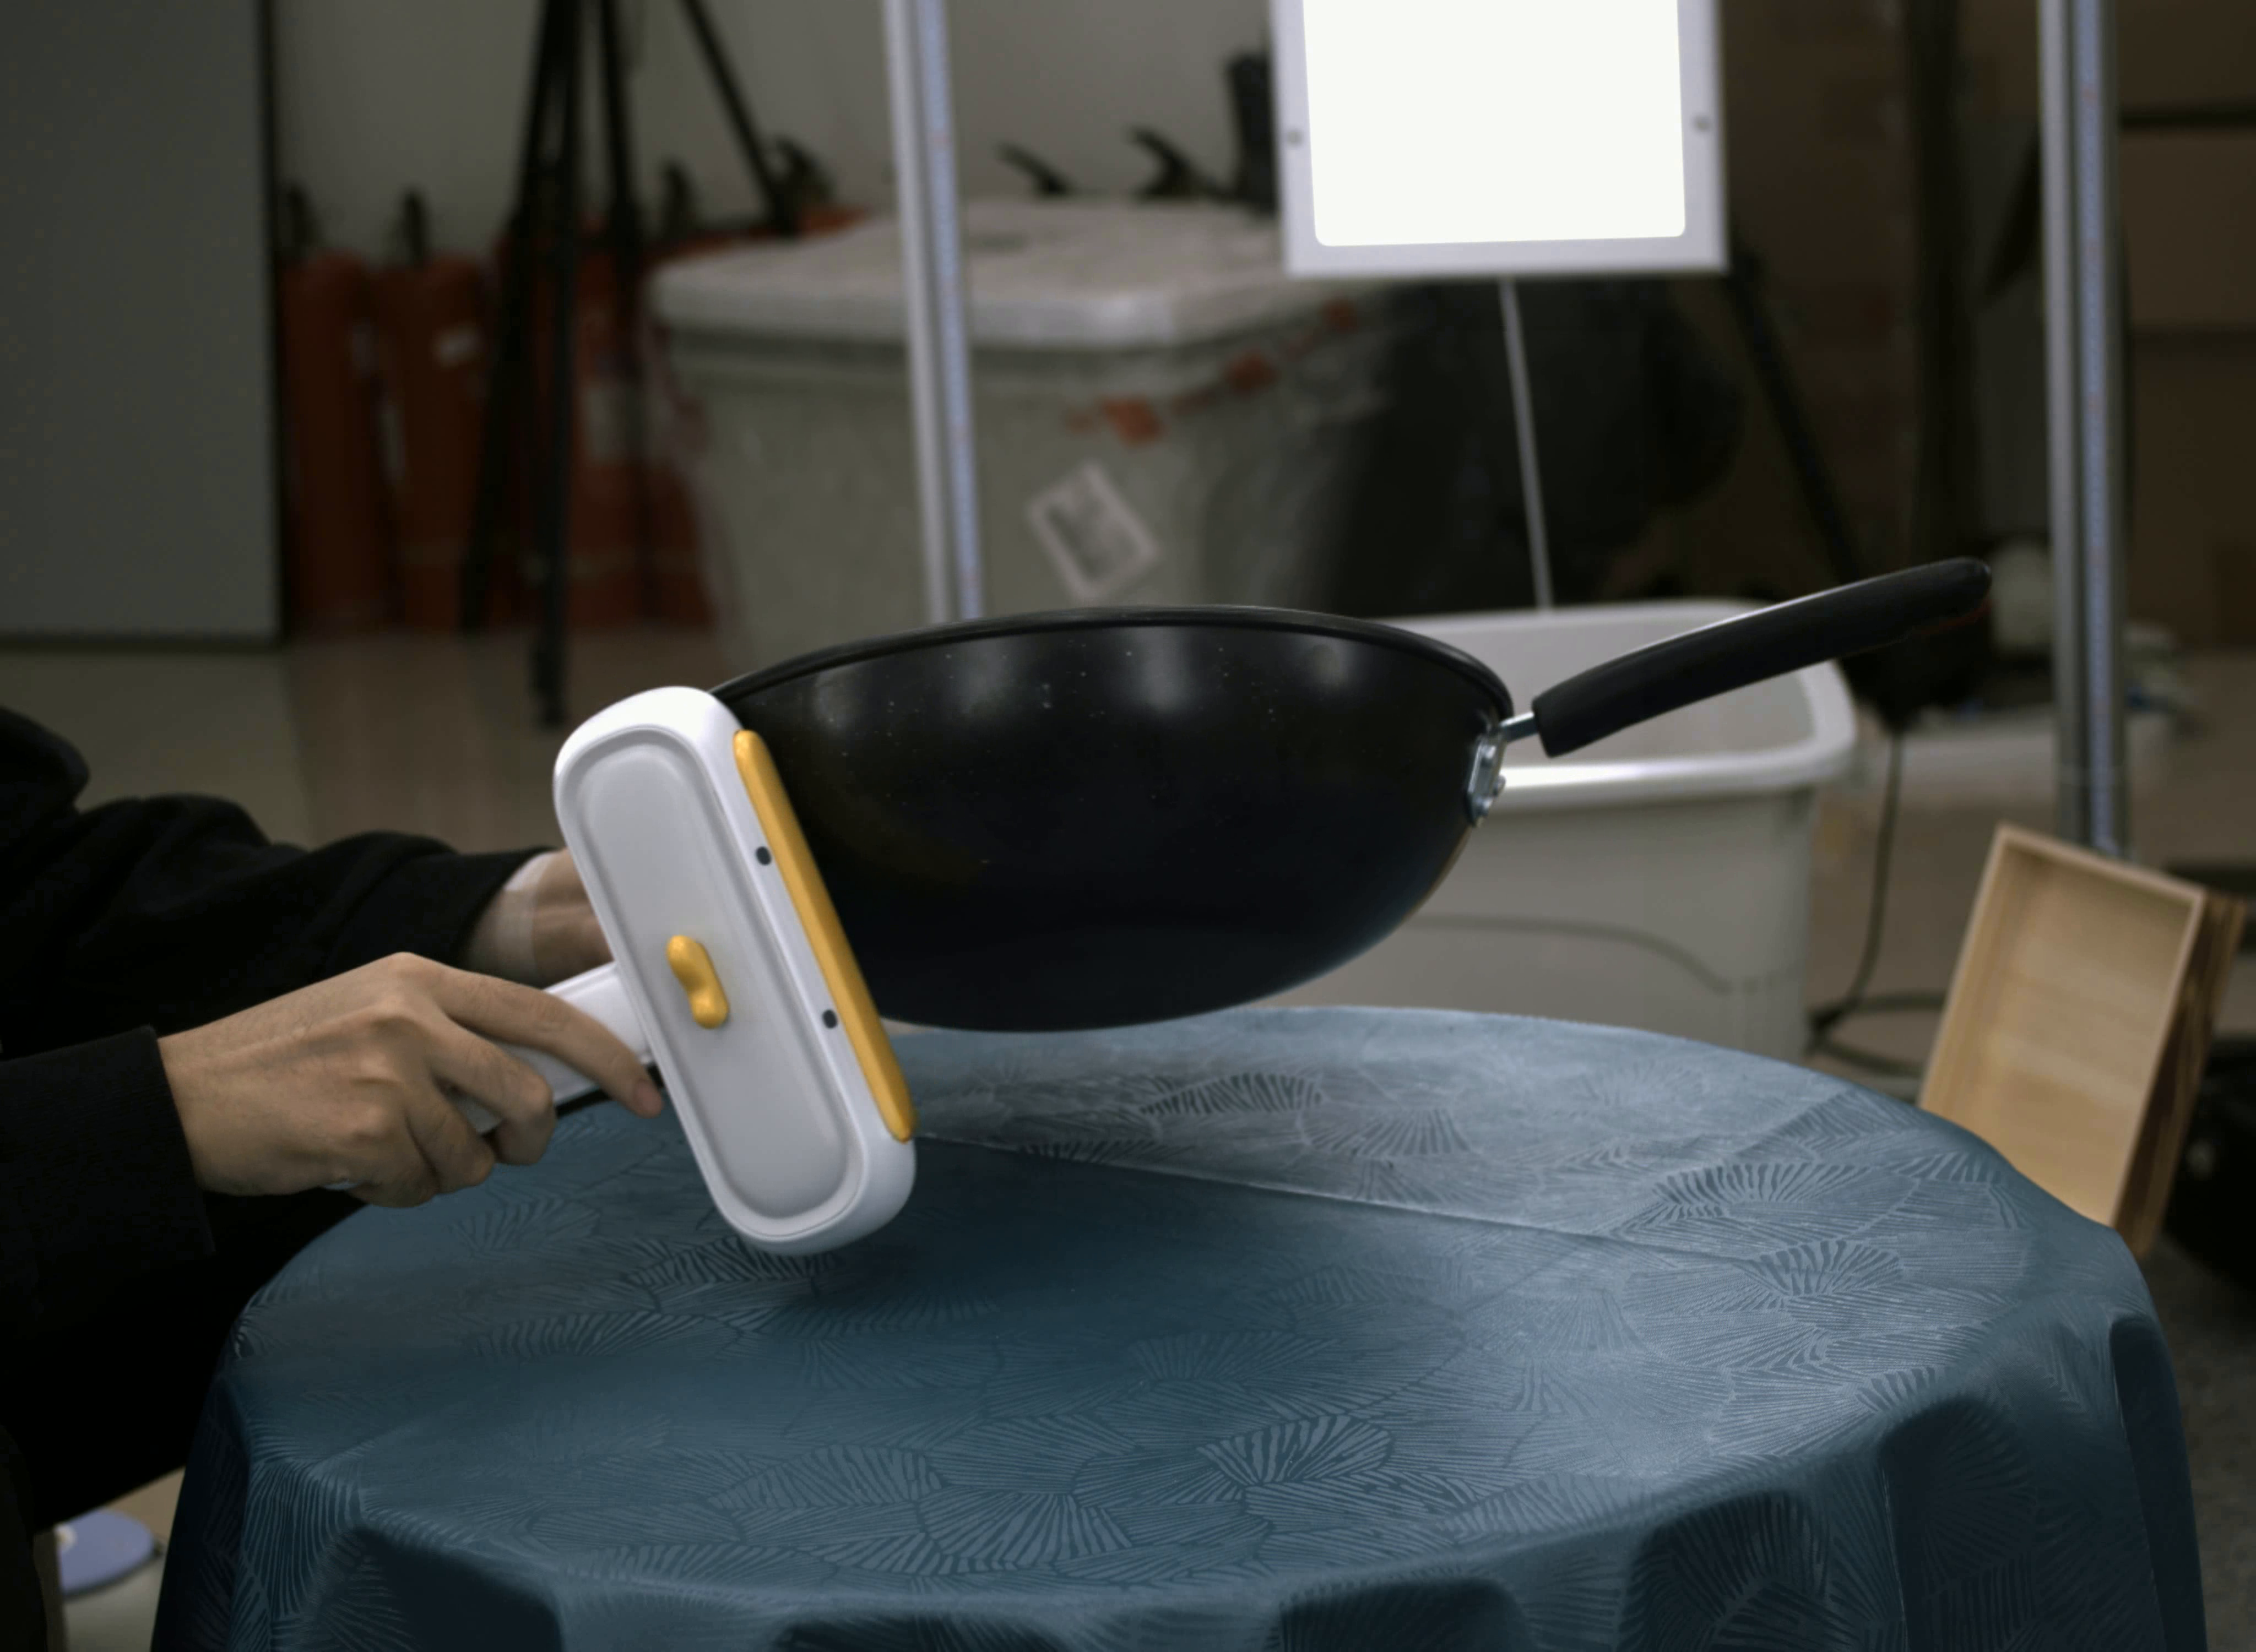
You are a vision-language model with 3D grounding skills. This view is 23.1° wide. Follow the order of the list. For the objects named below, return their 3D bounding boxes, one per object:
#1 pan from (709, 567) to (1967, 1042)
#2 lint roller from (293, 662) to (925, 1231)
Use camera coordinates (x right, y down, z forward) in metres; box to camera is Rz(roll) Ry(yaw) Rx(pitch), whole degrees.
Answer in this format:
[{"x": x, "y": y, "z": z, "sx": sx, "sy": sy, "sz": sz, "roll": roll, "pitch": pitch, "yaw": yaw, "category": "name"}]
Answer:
[{"x": 0.057, "y": -0.006, "z": 1.890, "sx": 0.479, "sy": 0.112, "sz": 0.308, "roll": -7, "pitch": -15, "yaw": 8, "category": "pan"}, {"x": -0.182, "y": 0.067, "z": 1.804, "sx": 0.193, "sy": 0.193, "sz": 0.073, "roll": -27, "pitch": 4, "yaw": 10, "category": "lint roller"}]
